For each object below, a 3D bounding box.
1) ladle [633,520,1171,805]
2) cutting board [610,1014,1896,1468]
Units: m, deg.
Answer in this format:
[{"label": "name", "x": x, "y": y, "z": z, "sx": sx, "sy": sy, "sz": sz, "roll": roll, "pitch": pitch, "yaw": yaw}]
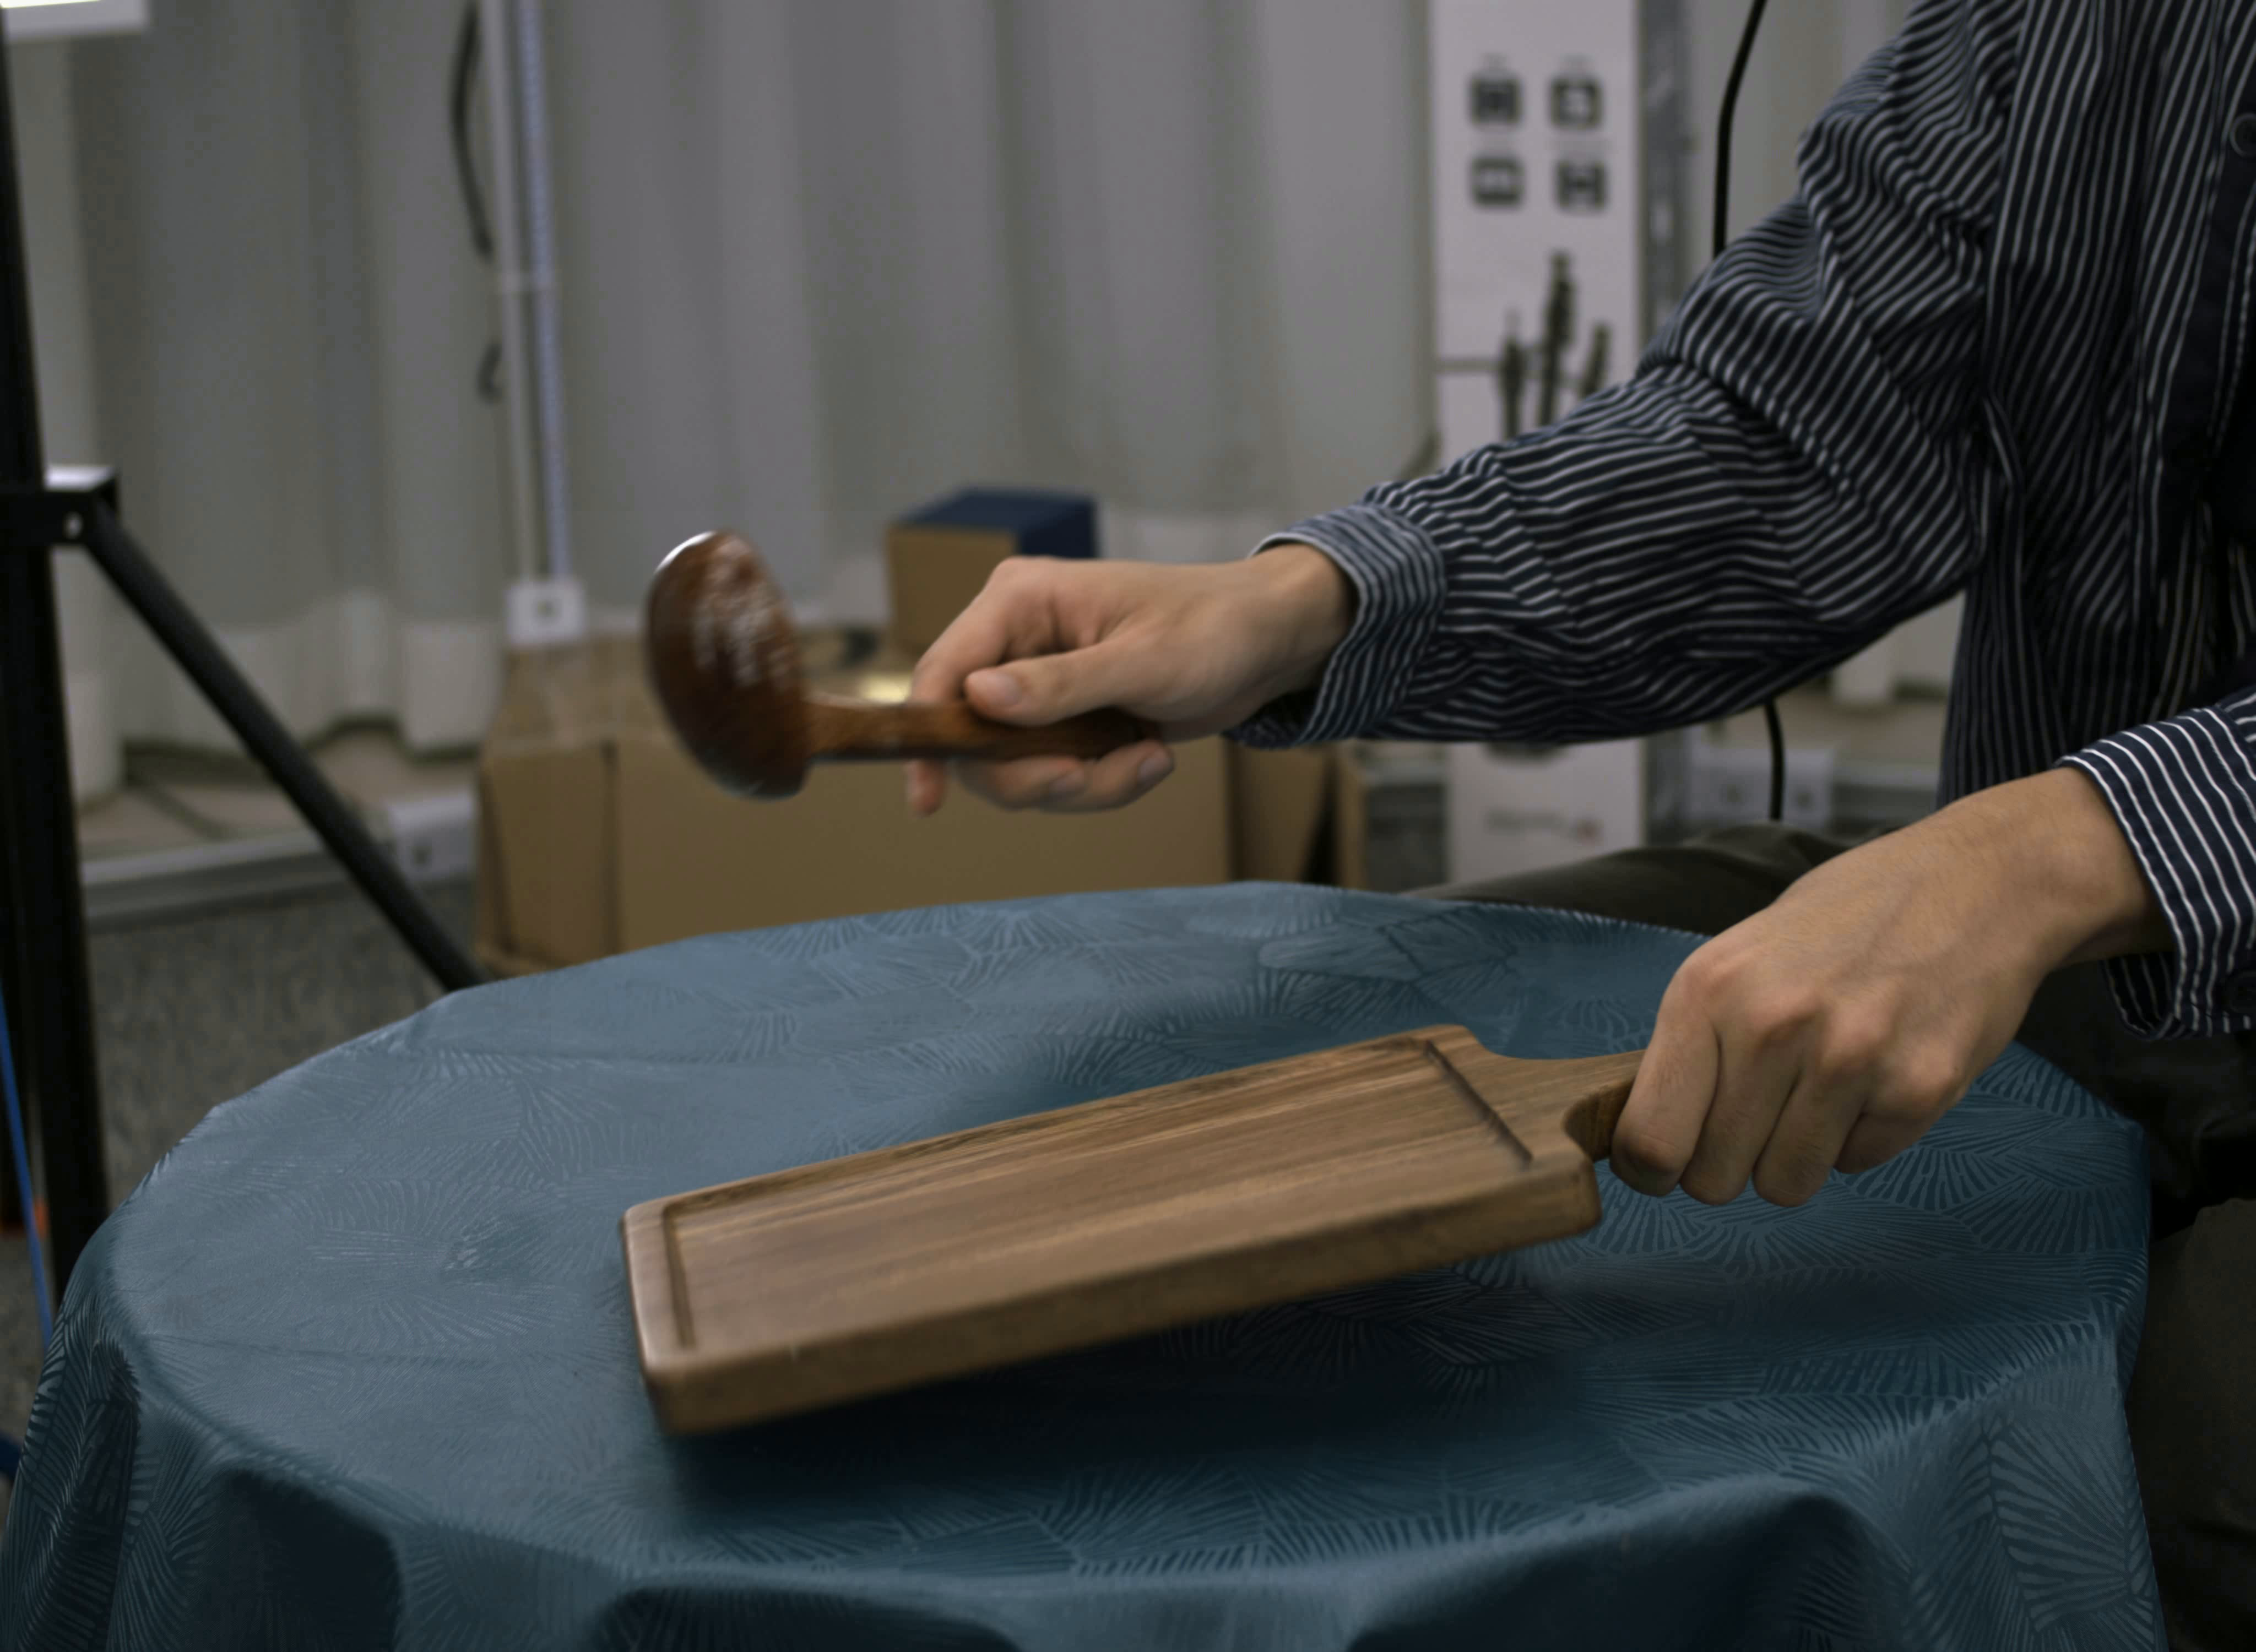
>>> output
[{"label": "ladle", "x": -0.053, "y": -0.042, "z": 1.622, "sx": 0.077, "sy": 0.083, "sz": 0.267, "roll": -32, "pitch": -22, "yaw": 34}, {"label": "cutting board", "x": 0.036, "y": 0.099, "z": 1.422, "sx": 0.350, "sy": 0.023, "sz": 0.202, "roll": -12, "pitch": 11, "yaw": -3}]
